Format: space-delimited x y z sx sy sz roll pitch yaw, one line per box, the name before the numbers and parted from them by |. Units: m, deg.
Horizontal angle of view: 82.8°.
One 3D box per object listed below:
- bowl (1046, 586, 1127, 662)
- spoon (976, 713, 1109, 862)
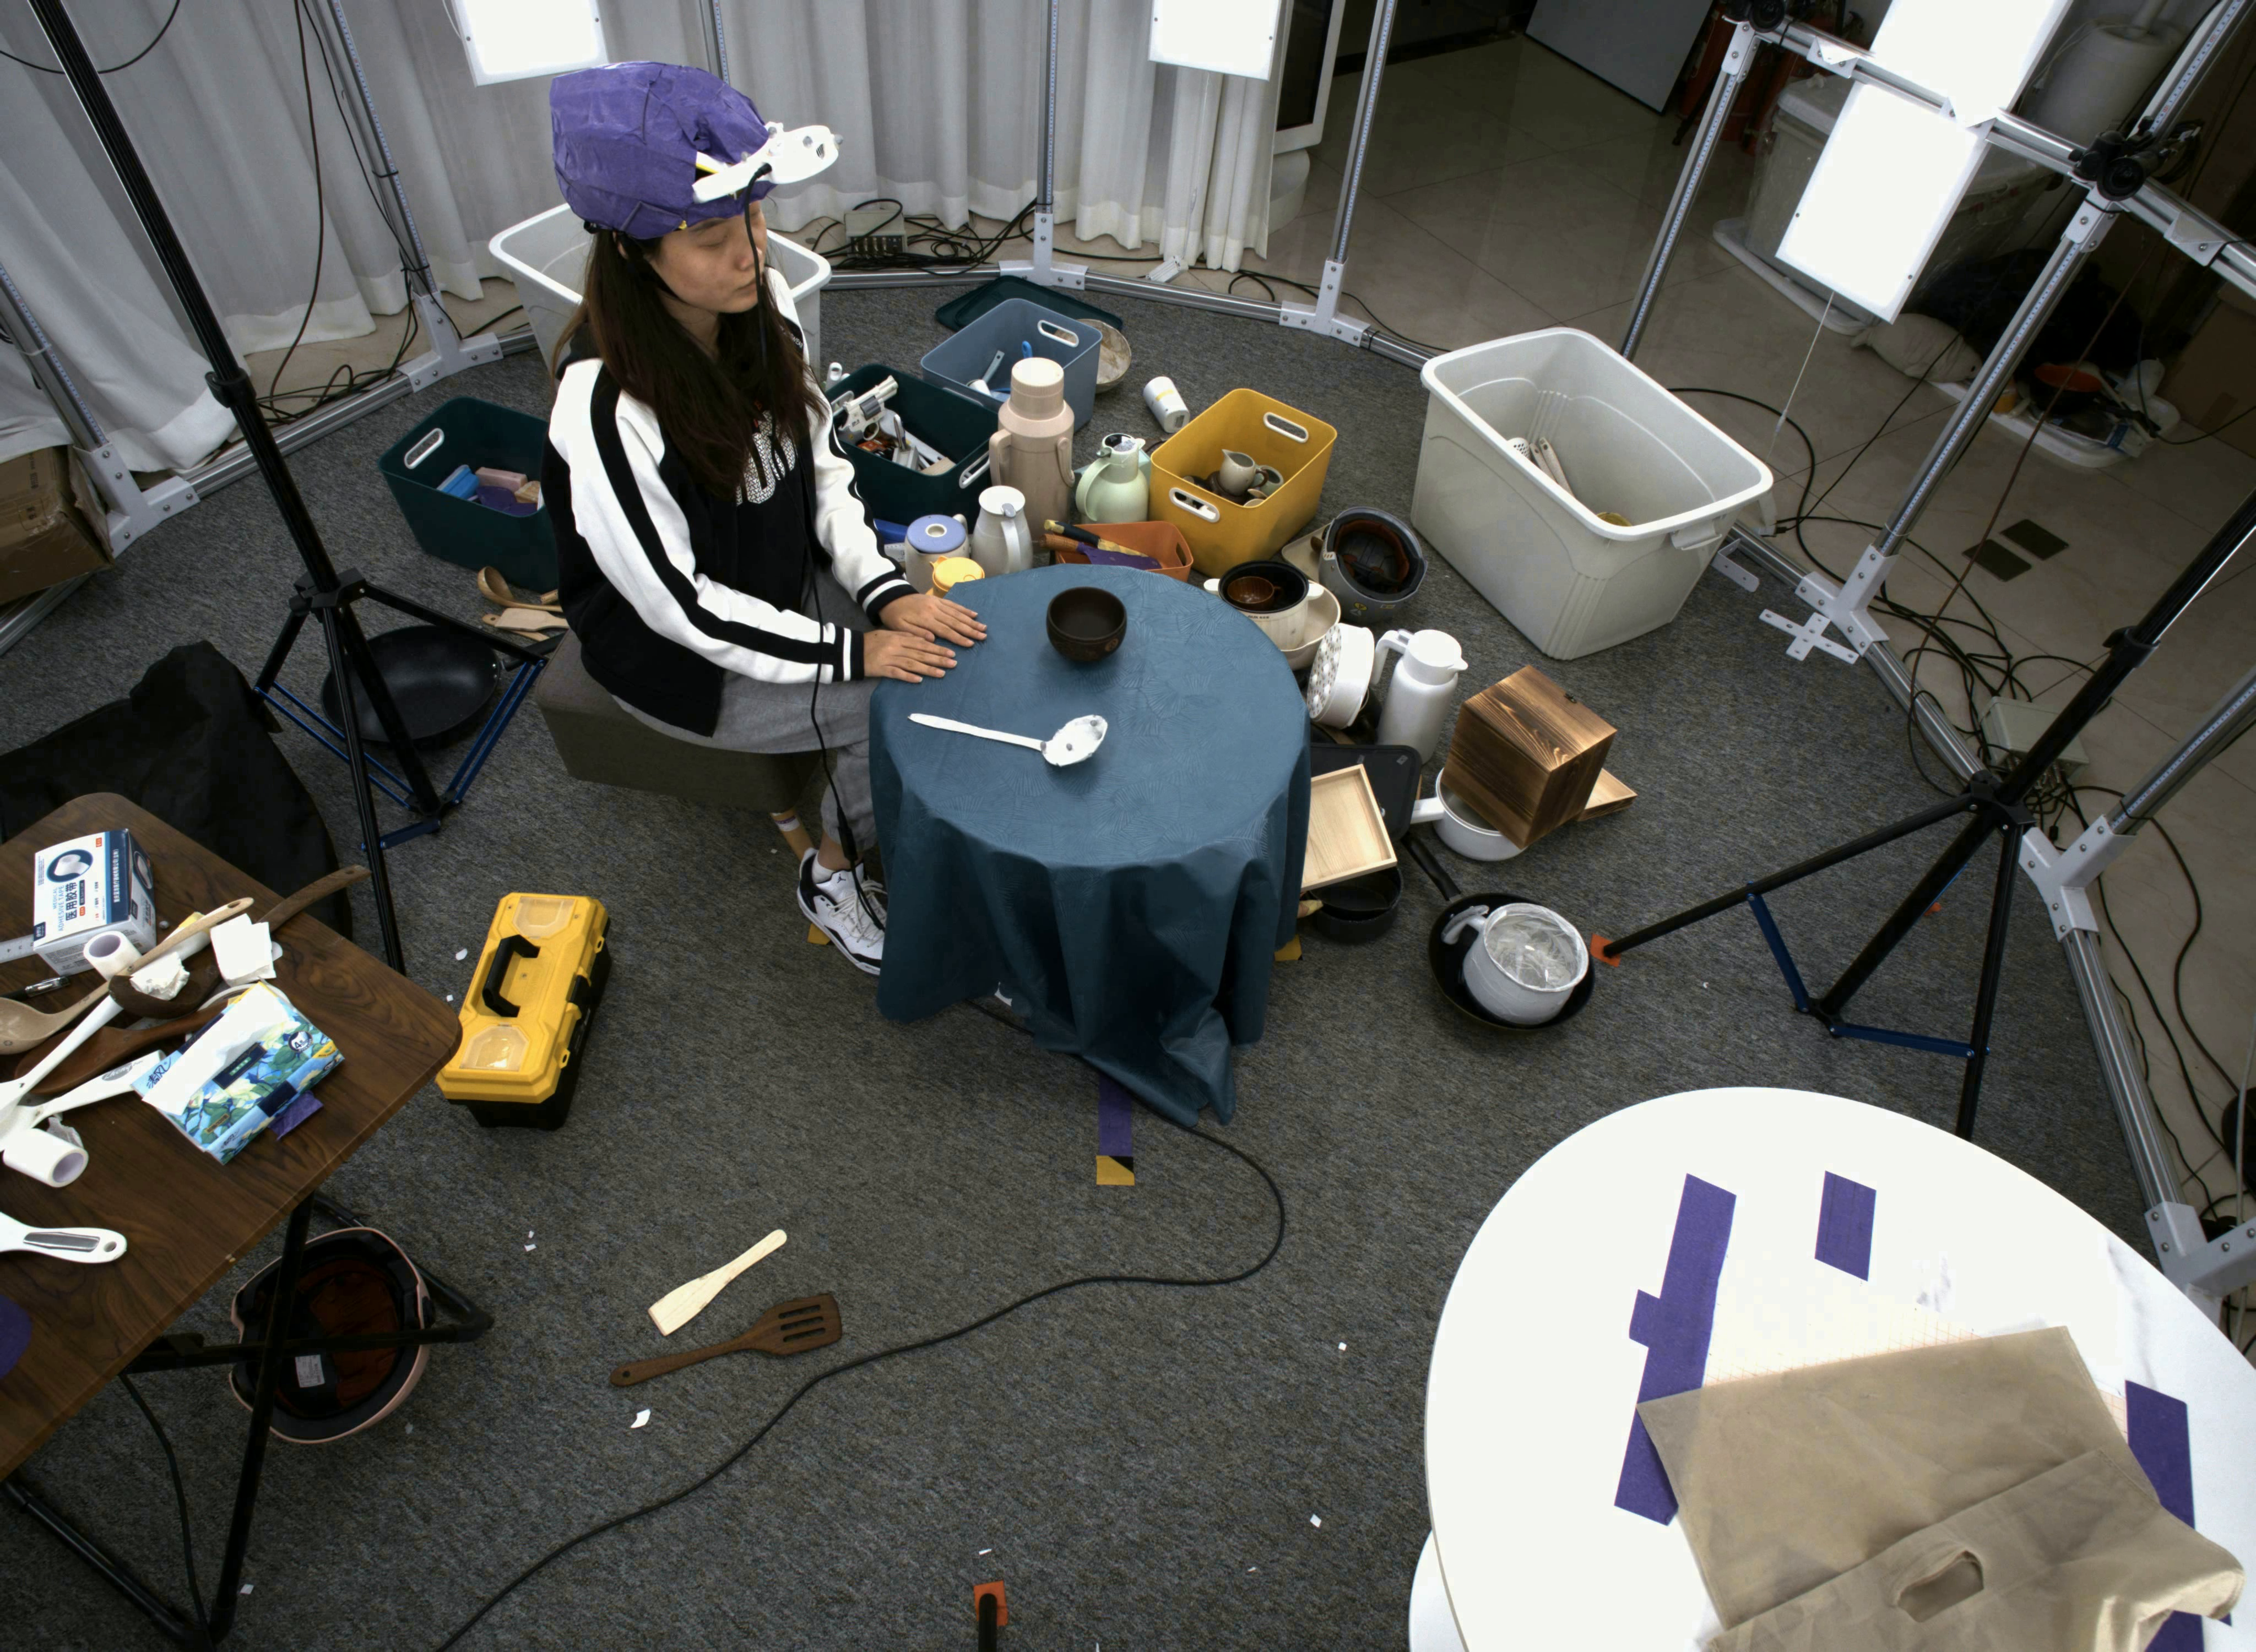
bowl | -0.060 -0.285 1.866 0.118 0.068 0.121 2 49 -3
spoon | -0.120 -0.046 1.773 0.059 0.274 0.103 26 22 -20
